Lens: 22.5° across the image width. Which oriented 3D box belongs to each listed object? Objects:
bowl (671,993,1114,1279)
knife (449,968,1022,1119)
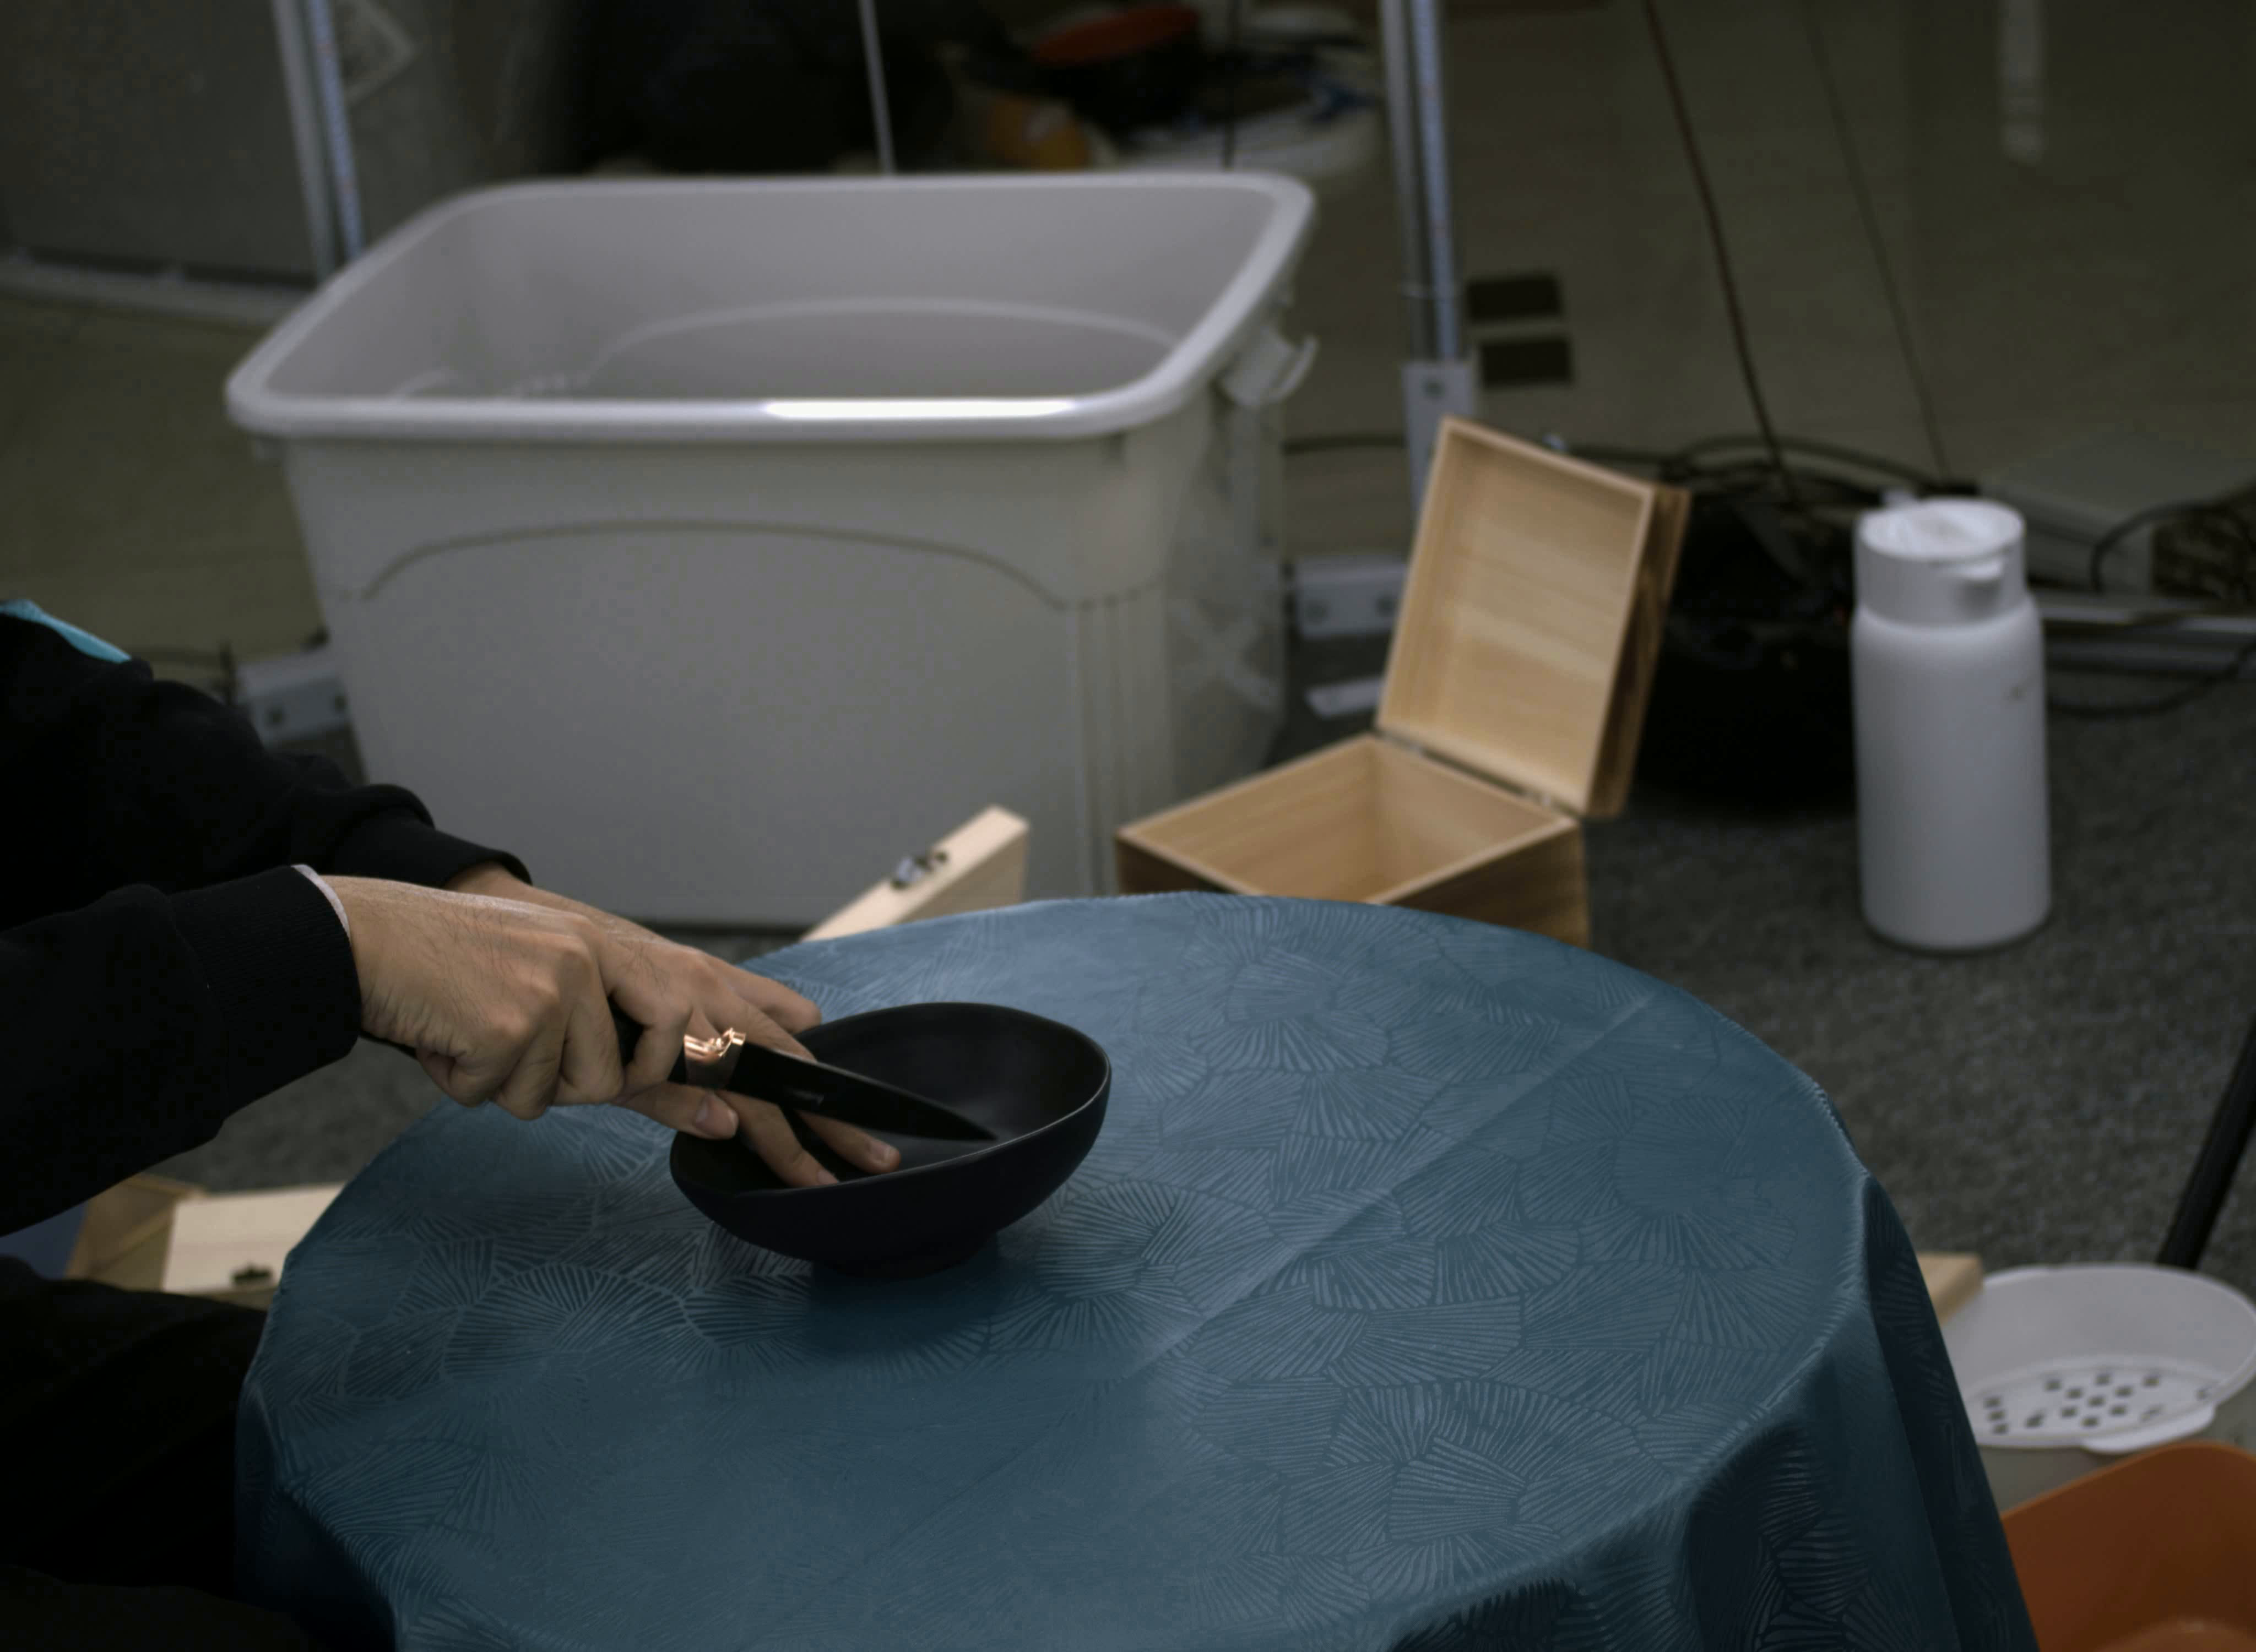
[{"bbox_3d":[-0.084,0.126,2.119,0.170,0.068,0.135,-15,26,-12],"label":"bowl"},{"bbox_3d":[-0.144,0.086,2.104,0.226,0.026,0.017,15,29,-22],"label":"knife"}]
